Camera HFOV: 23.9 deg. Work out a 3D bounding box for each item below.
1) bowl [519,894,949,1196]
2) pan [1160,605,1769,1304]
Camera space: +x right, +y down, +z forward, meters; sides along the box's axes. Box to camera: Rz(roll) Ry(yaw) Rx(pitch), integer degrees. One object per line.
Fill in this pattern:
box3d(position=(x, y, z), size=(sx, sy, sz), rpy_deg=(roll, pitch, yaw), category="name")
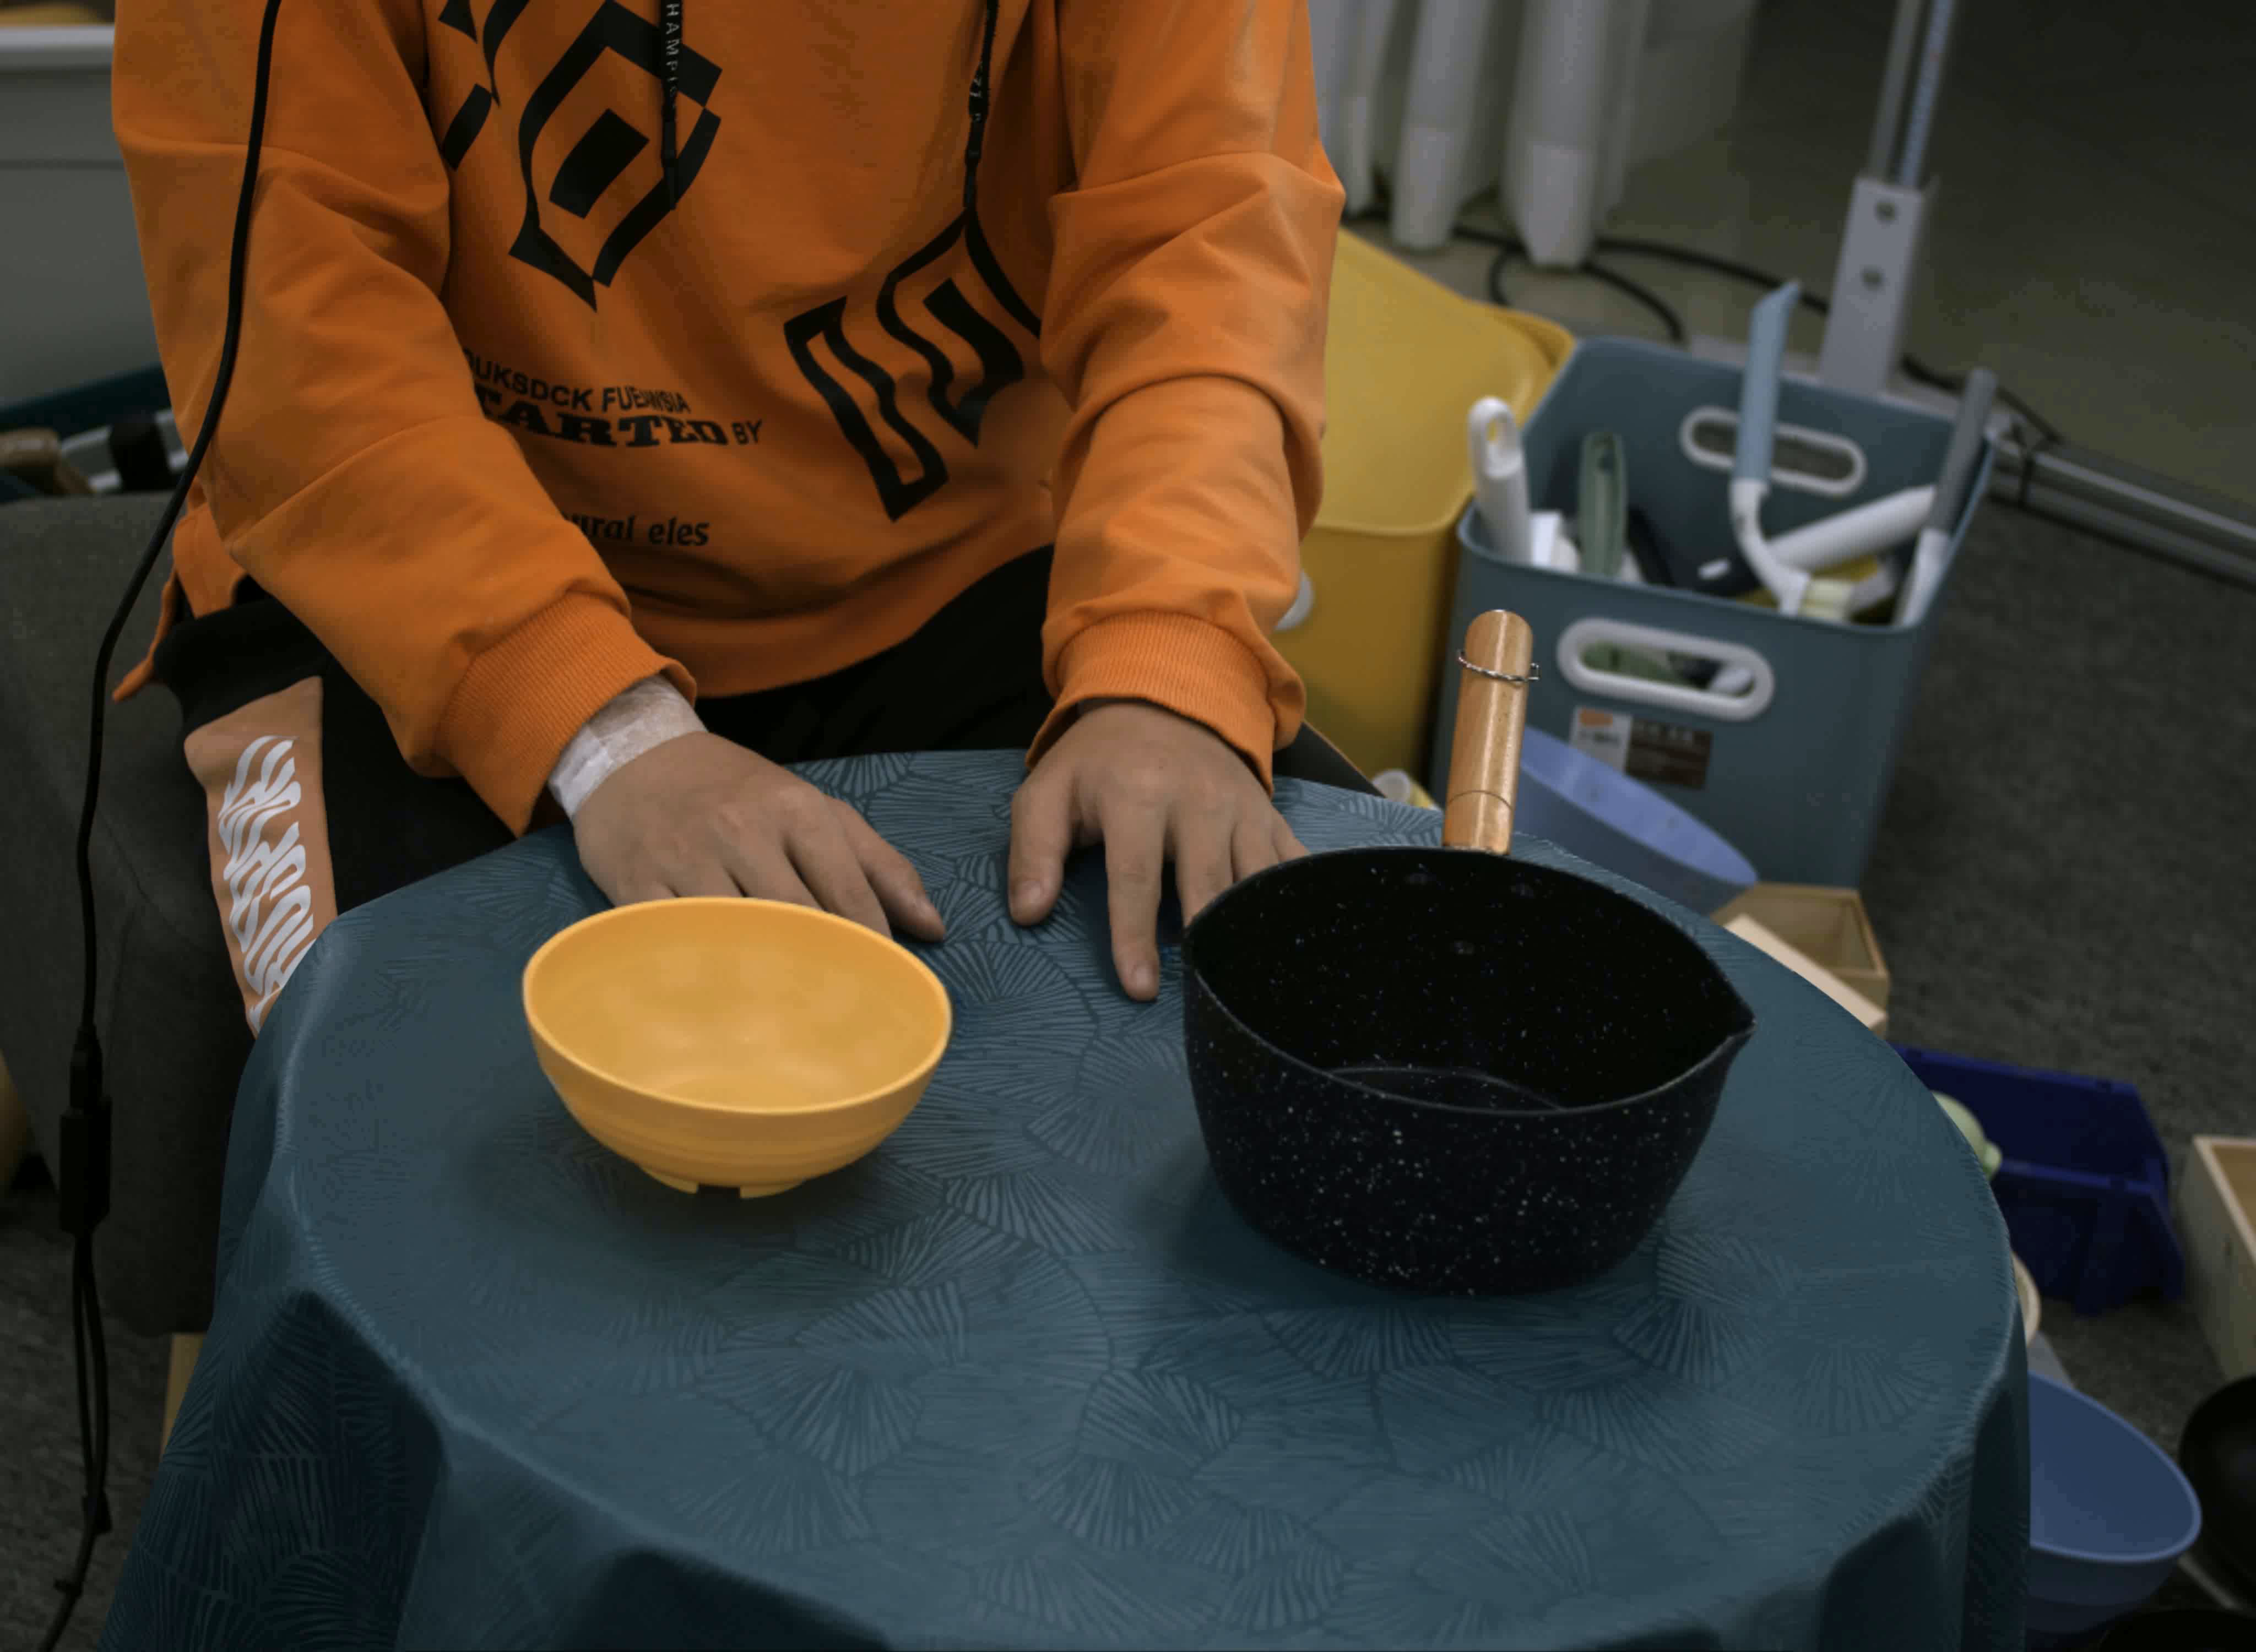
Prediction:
box3d(position=(-0.135, 0.083, 1.788), size=(0.145, 0.060, 0.146), rpy_deg=(6, 27, -4), category="bowl")
box3d(position=(0.117, 0.041, 1.873), size=(0.207, 0.108, 0.344), rpy_deg=(6, 28, 3), category="pan")
